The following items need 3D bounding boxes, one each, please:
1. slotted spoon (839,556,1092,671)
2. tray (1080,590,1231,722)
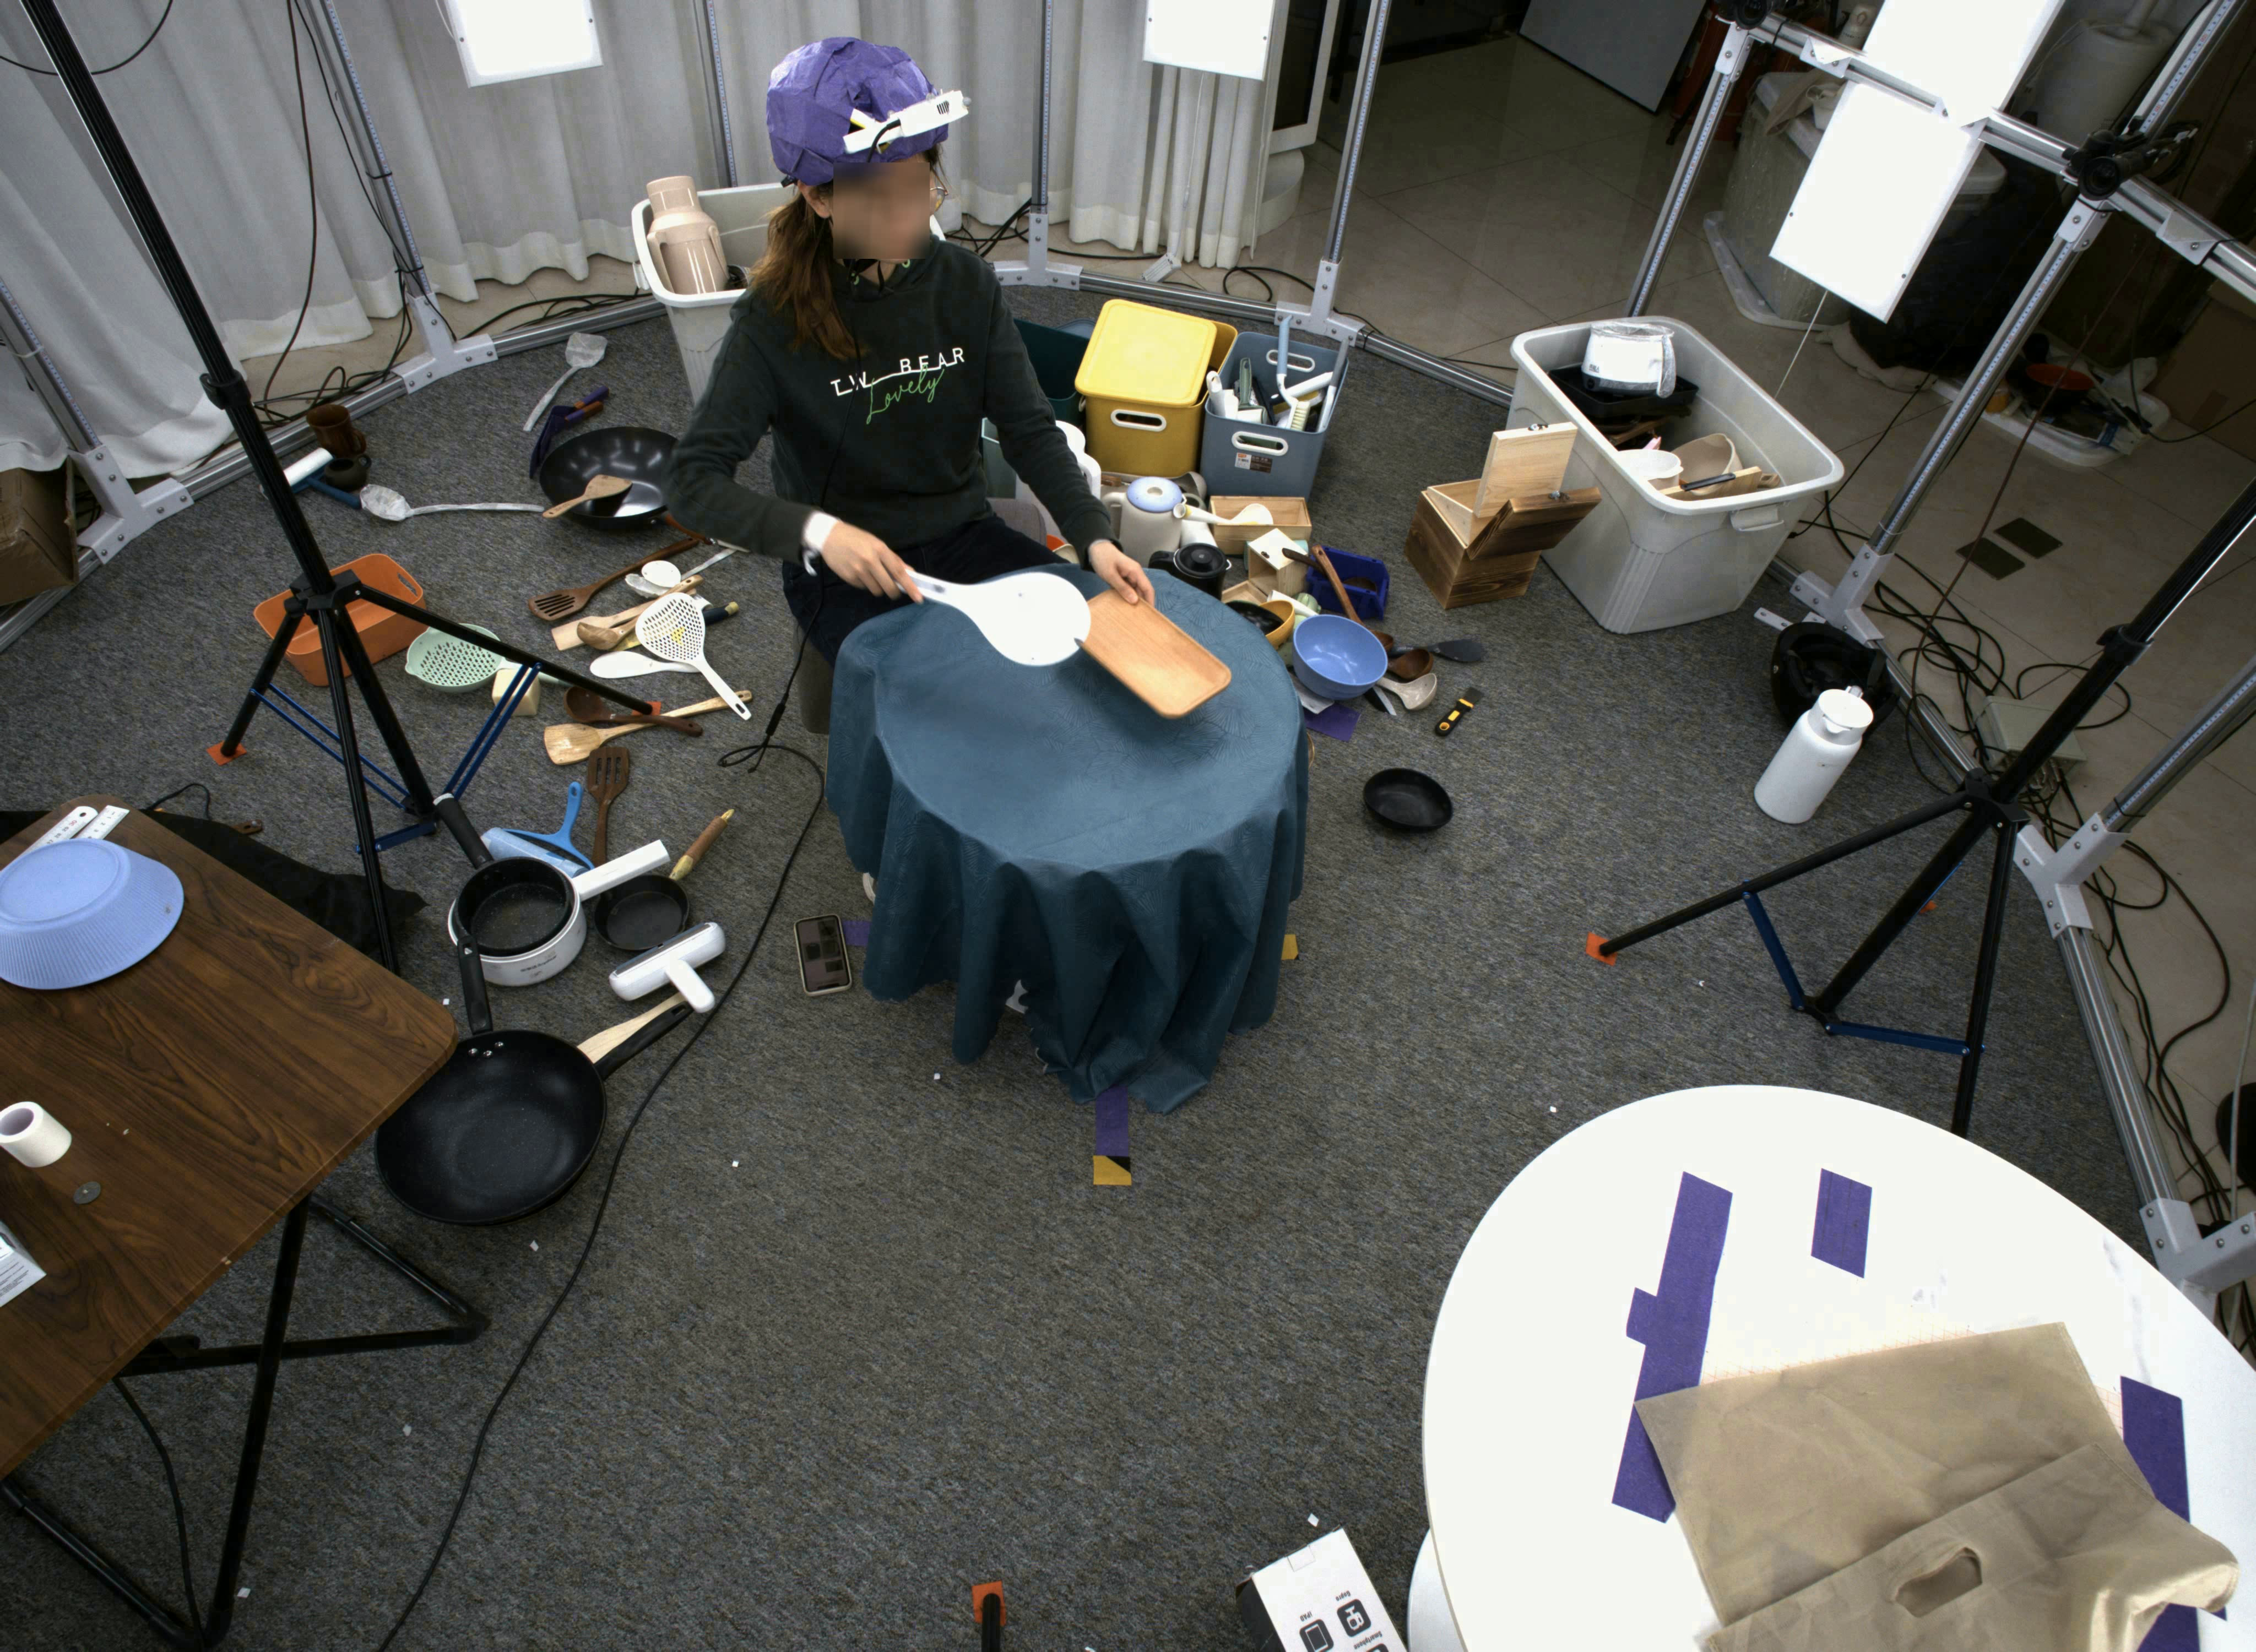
[{"bbox_3d":[-0.216,-0.292,1.702,0.350,0.045,0.138,20,65,4],"label":"slotted spoon"},{"bbox_3d":[0.025,-0.242,1.814,0.131,0.022,0.255,-31,57,-25],"label":"tray"}]
